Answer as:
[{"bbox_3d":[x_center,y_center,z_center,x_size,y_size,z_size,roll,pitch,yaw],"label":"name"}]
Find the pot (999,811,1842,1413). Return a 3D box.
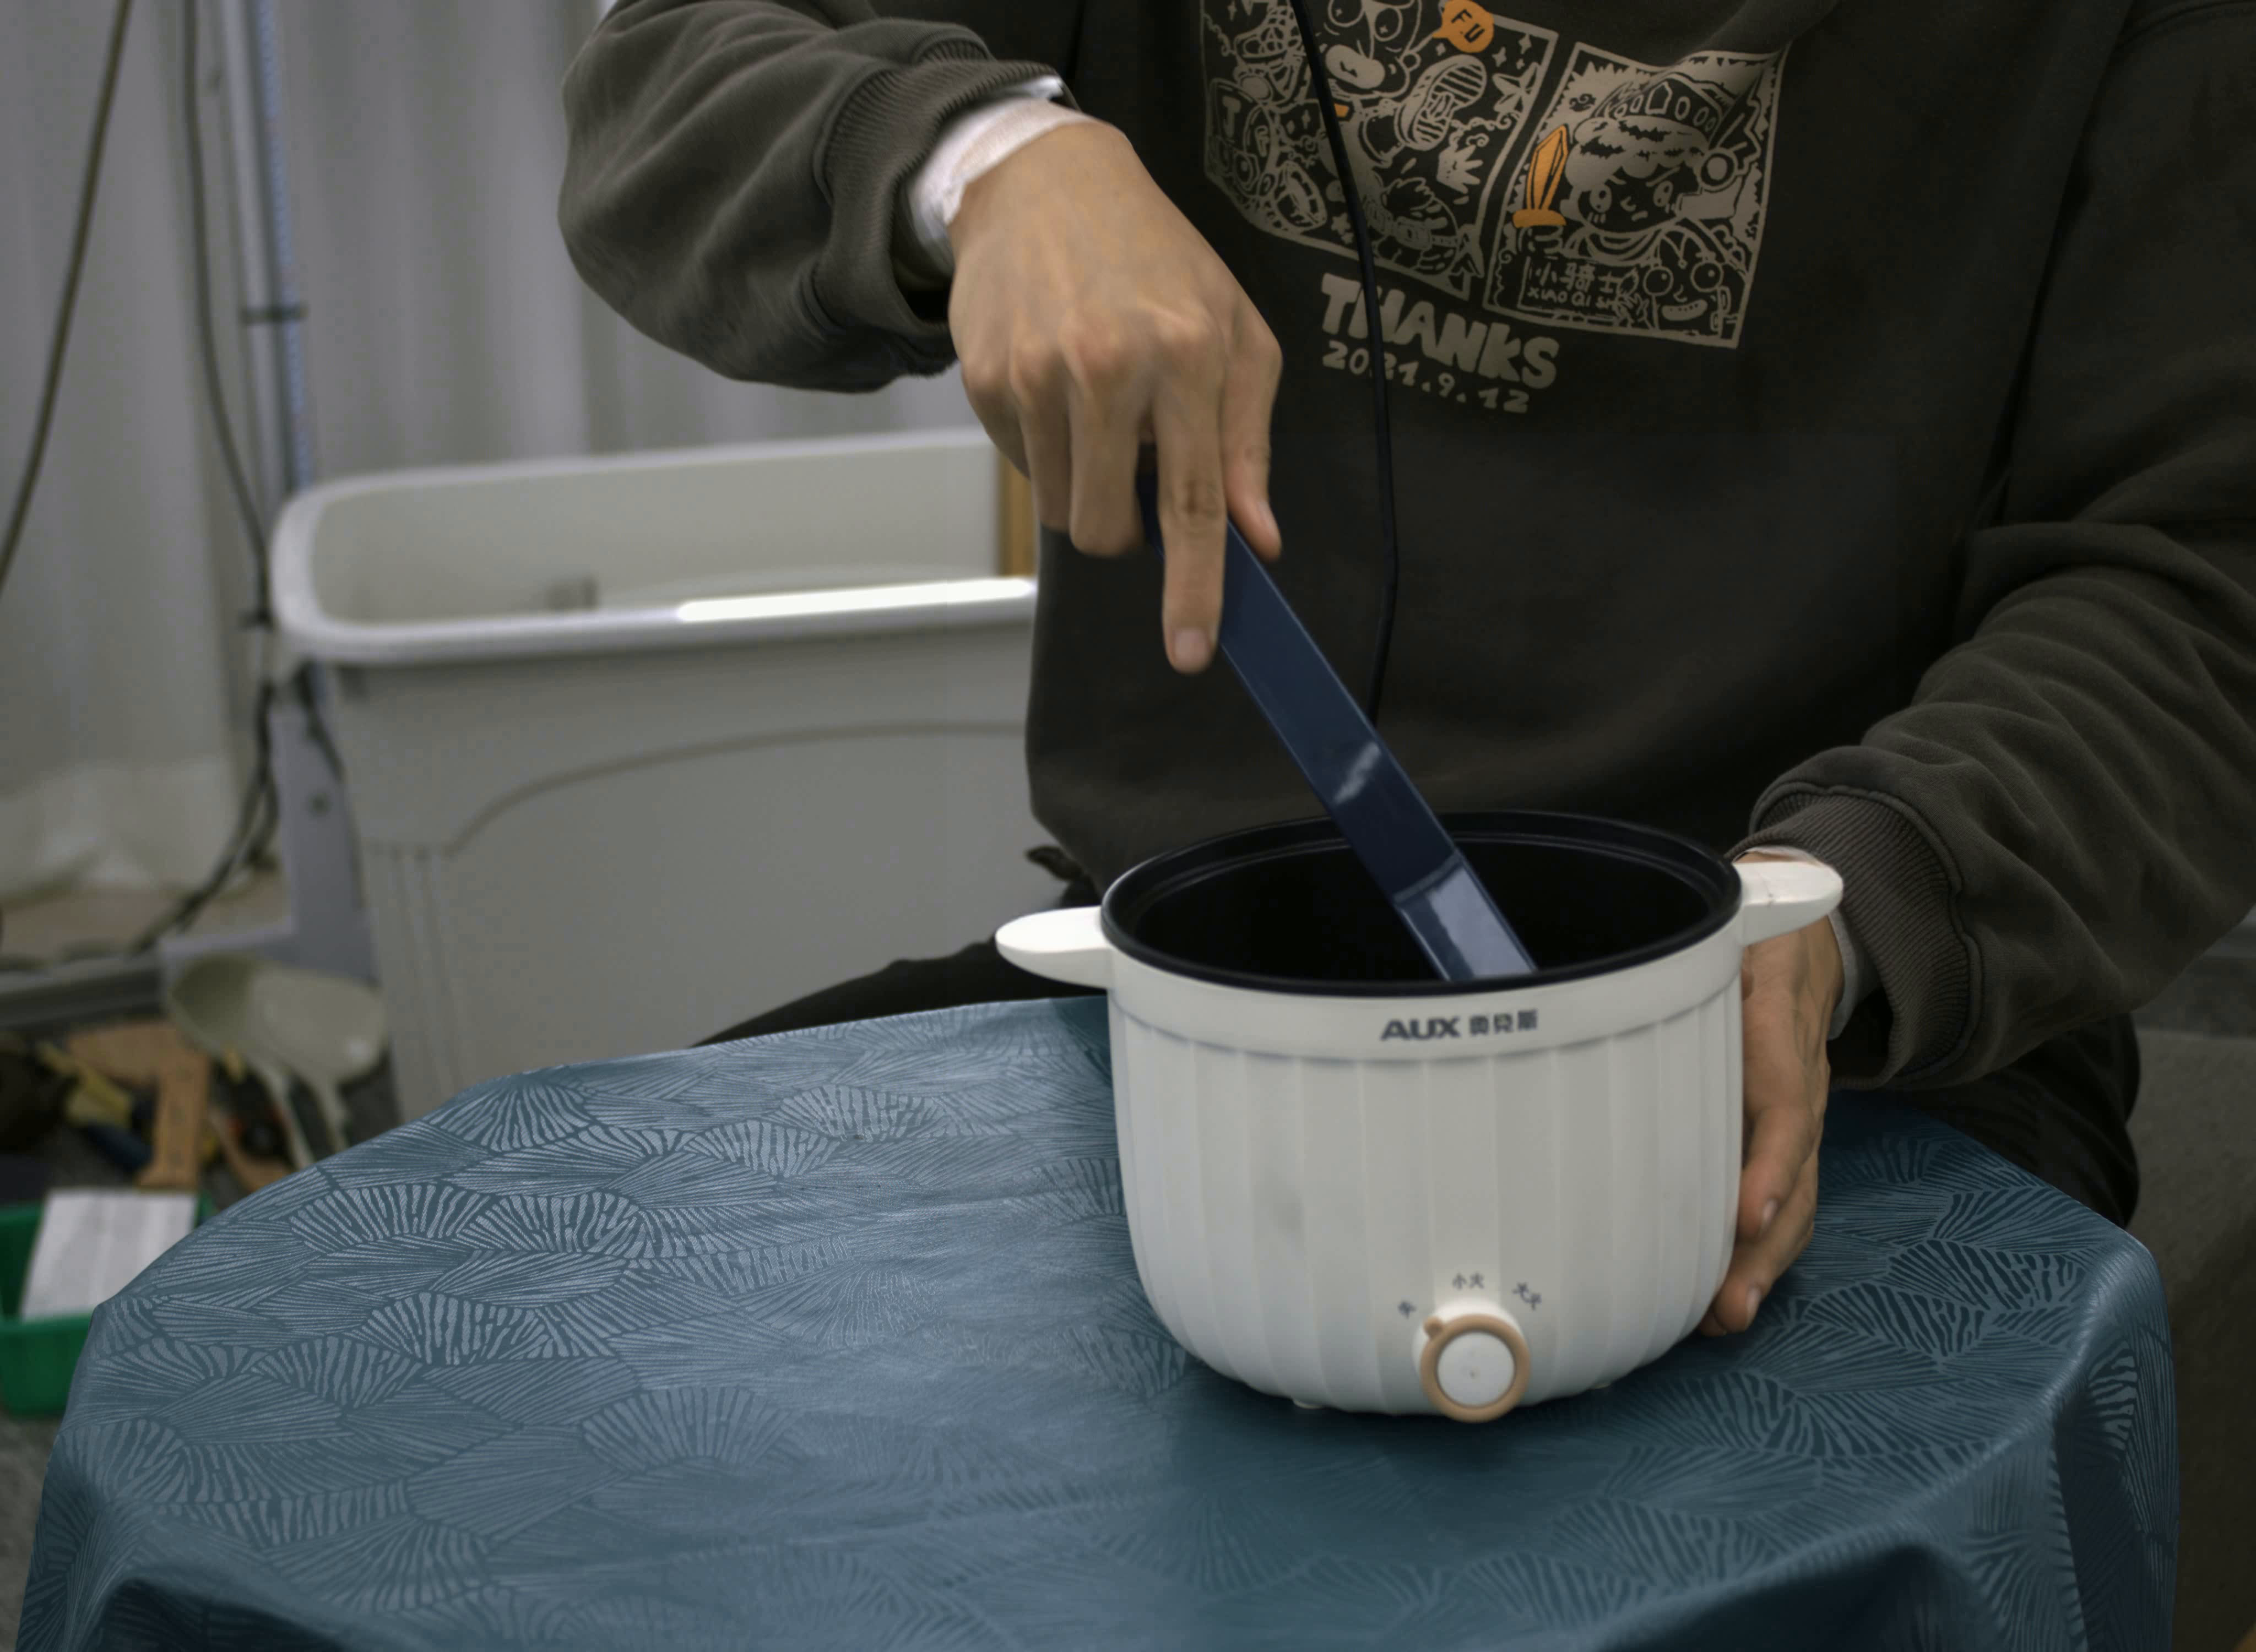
[{"bbox_3d":[0.088,0.084,1.553,0.239,0.142,0.191,-5,11,-3],"label":"pot"}]

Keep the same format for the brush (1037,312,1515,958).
[{"bbox_3d":[0.052,-0.035,1.580,0.033,0.275,0.095,-35,-12,6],"label":"brush"}]
